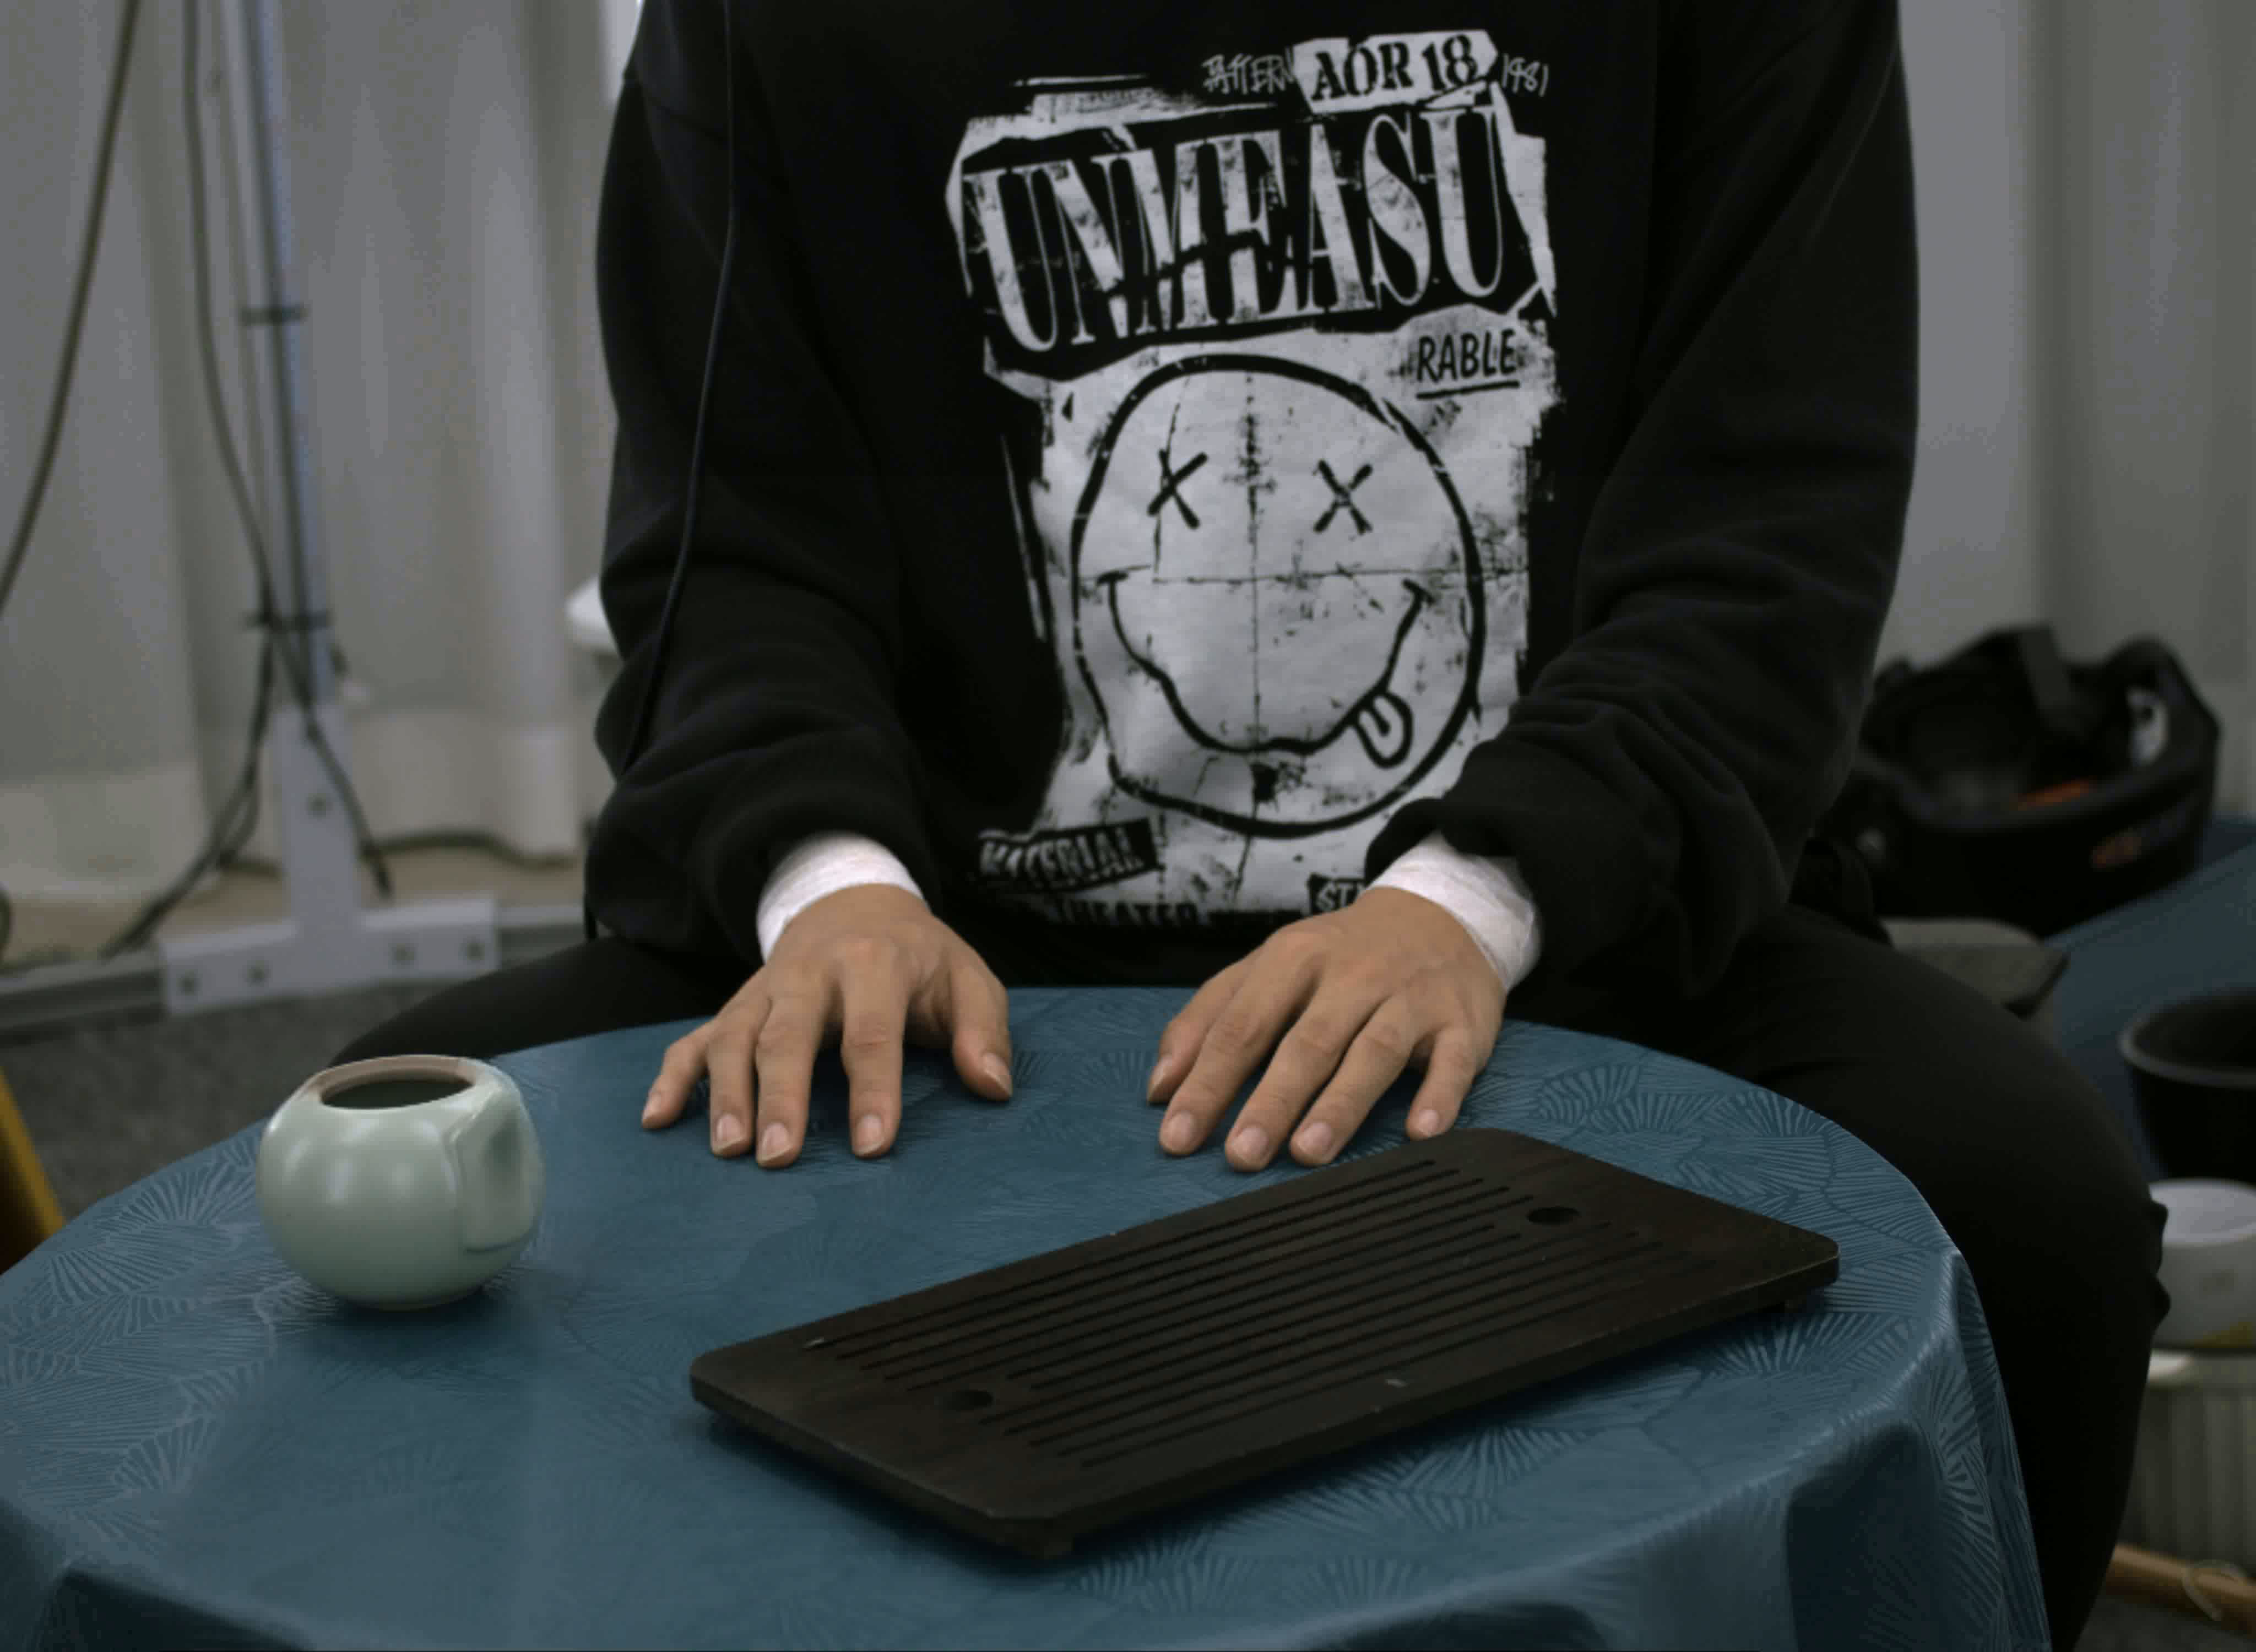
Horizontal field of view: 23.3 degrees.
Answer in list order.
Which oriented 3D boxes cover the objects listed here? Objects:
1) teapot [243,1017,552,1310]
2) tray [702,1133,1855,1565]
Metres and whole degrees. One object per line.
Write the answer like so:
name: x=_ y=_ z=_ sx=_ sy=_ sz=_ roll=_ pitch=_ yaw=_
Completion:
teapot: x=-0.219 y=0.105 z=1.652 sx=0.088 sy=0.074 sz=0.145 roll=-15 pitch=21 yaw=-40
tray: x=0.046 y=0.145 z=1.556 sx=0.305 sy=0.018 sz=0.171 roll=-13 pitch=18 yaw=-35
